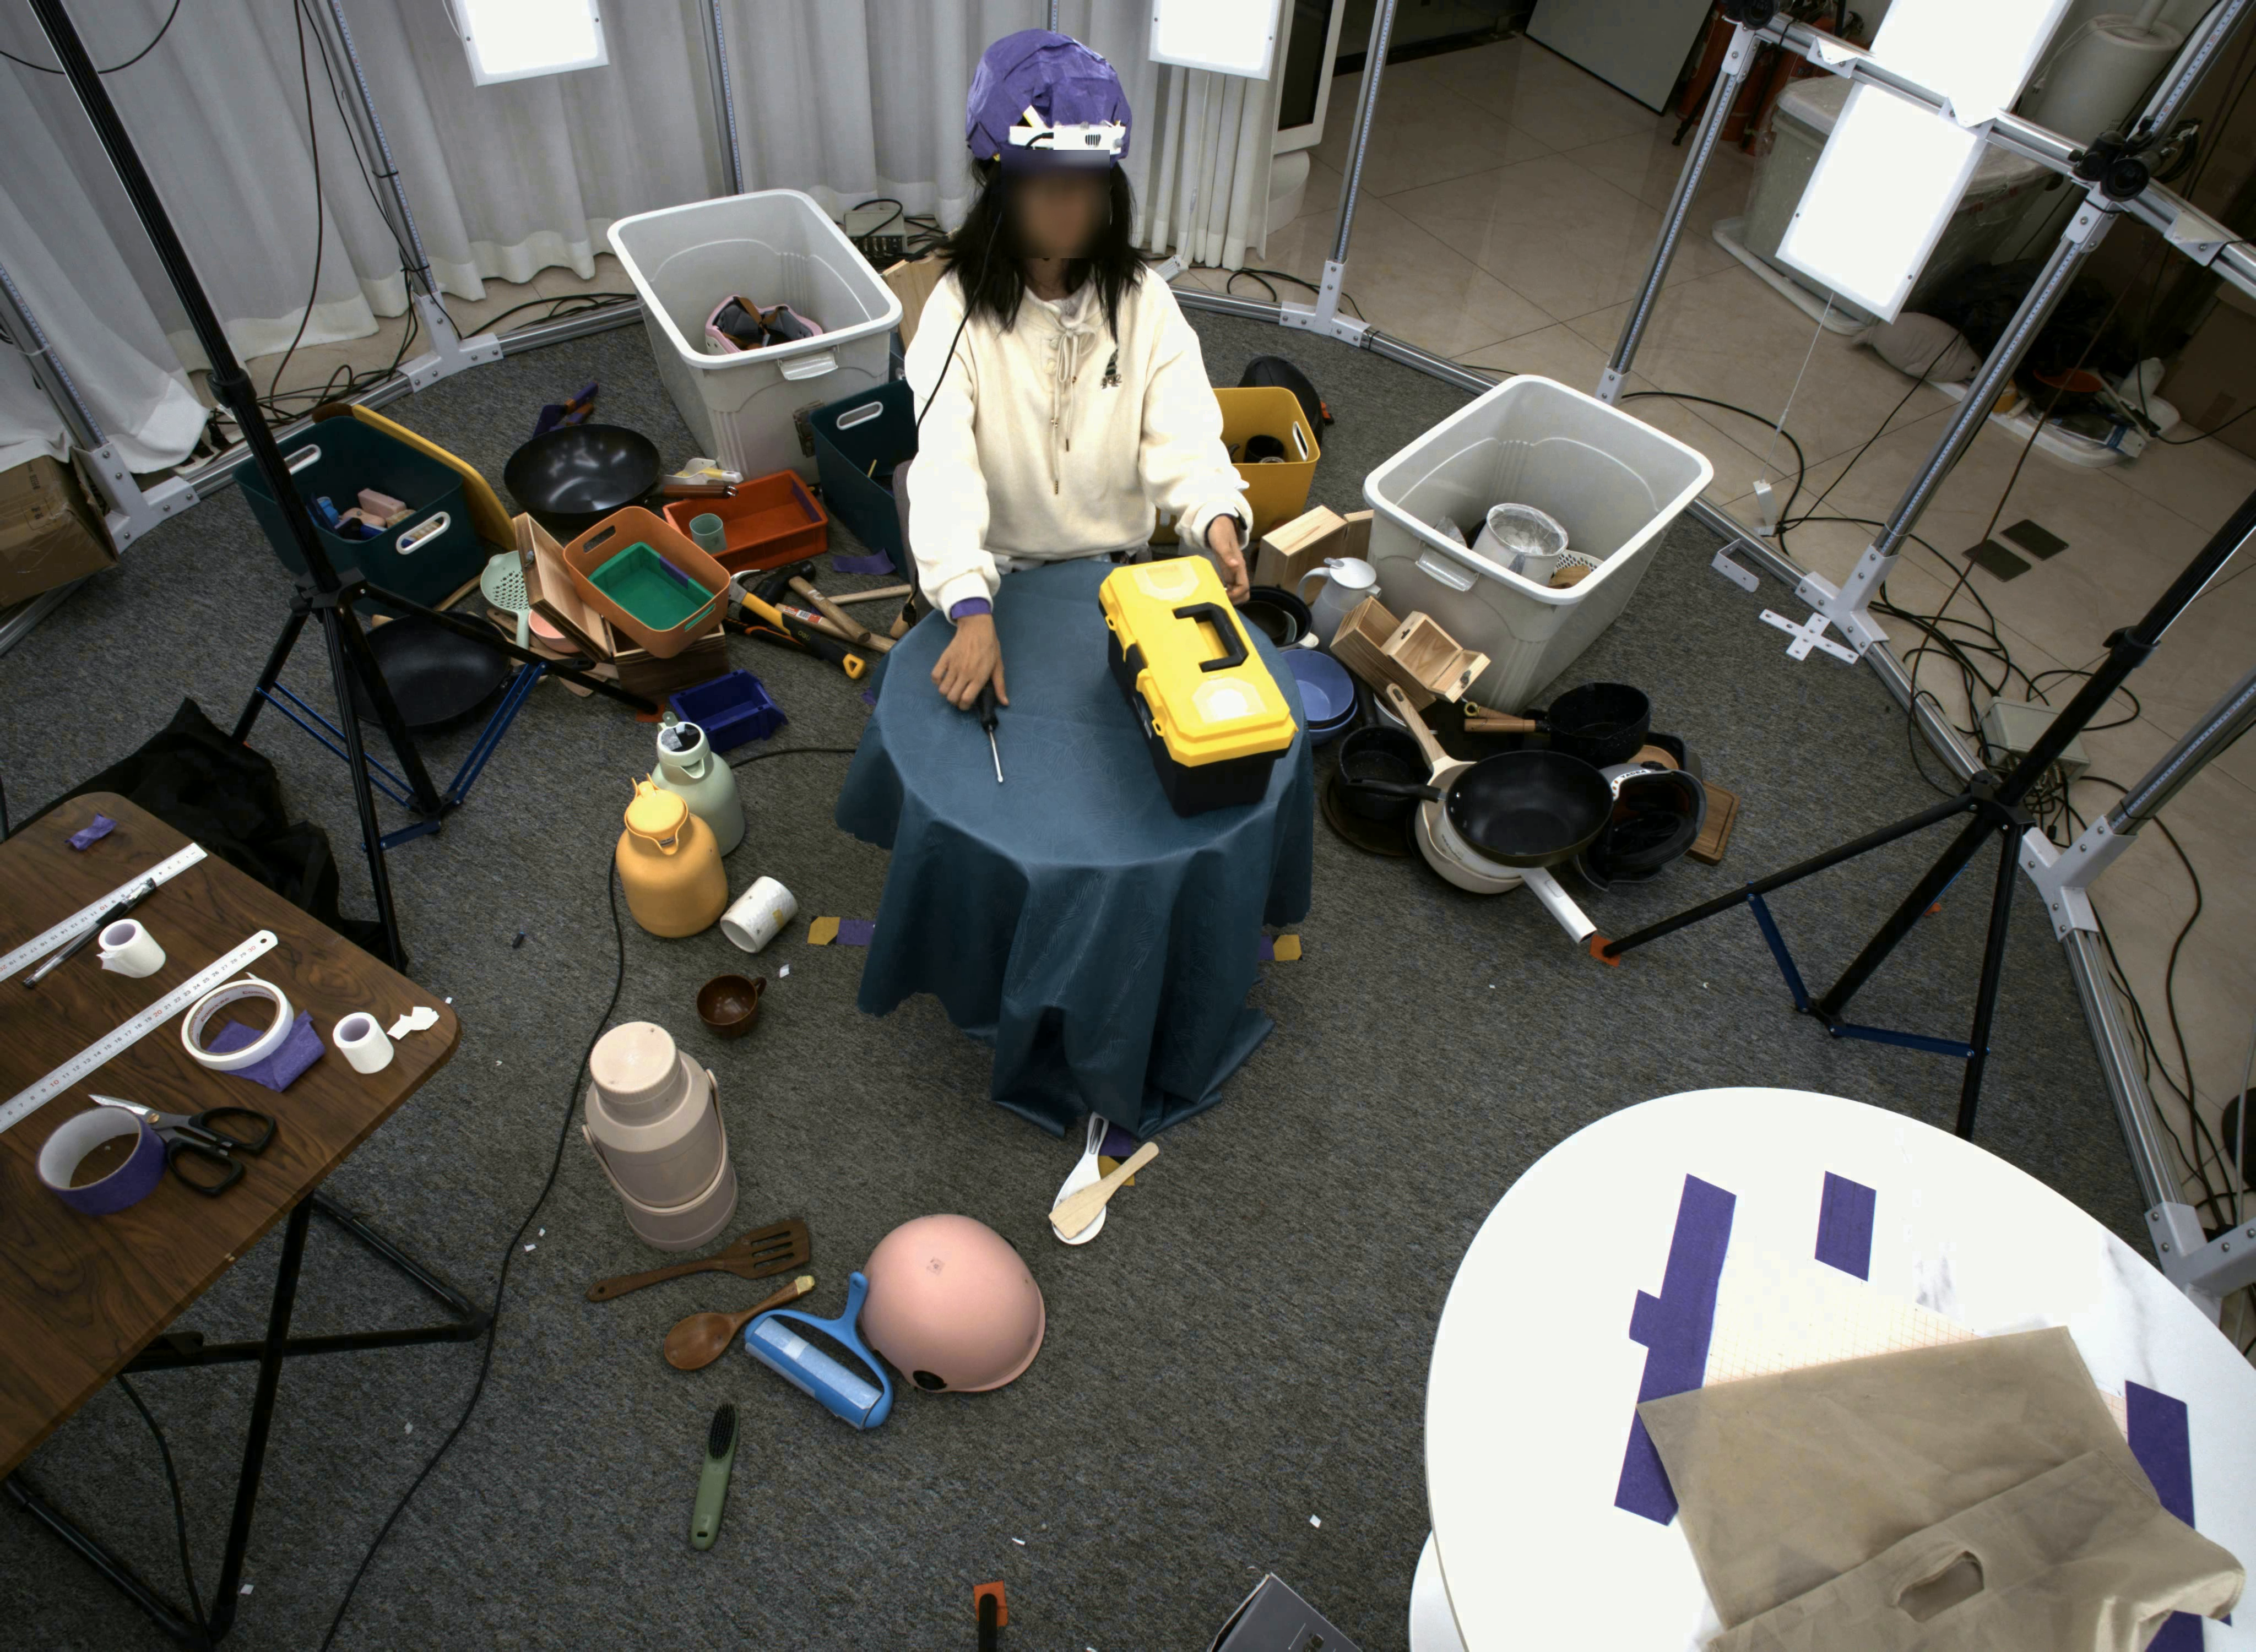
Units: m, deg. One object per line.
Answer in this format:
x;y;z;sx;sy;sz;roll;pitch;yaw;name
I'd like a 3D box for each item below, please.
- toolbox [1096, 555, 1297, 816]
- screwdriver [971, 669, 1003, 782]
0.083;-0.192;1.730;0.181;0.168;0.360;-11;51;-13;toolbox
-0.190;-0.140;1.757;0.031;0.031;0.201;-6;51;-10;screwdriver
